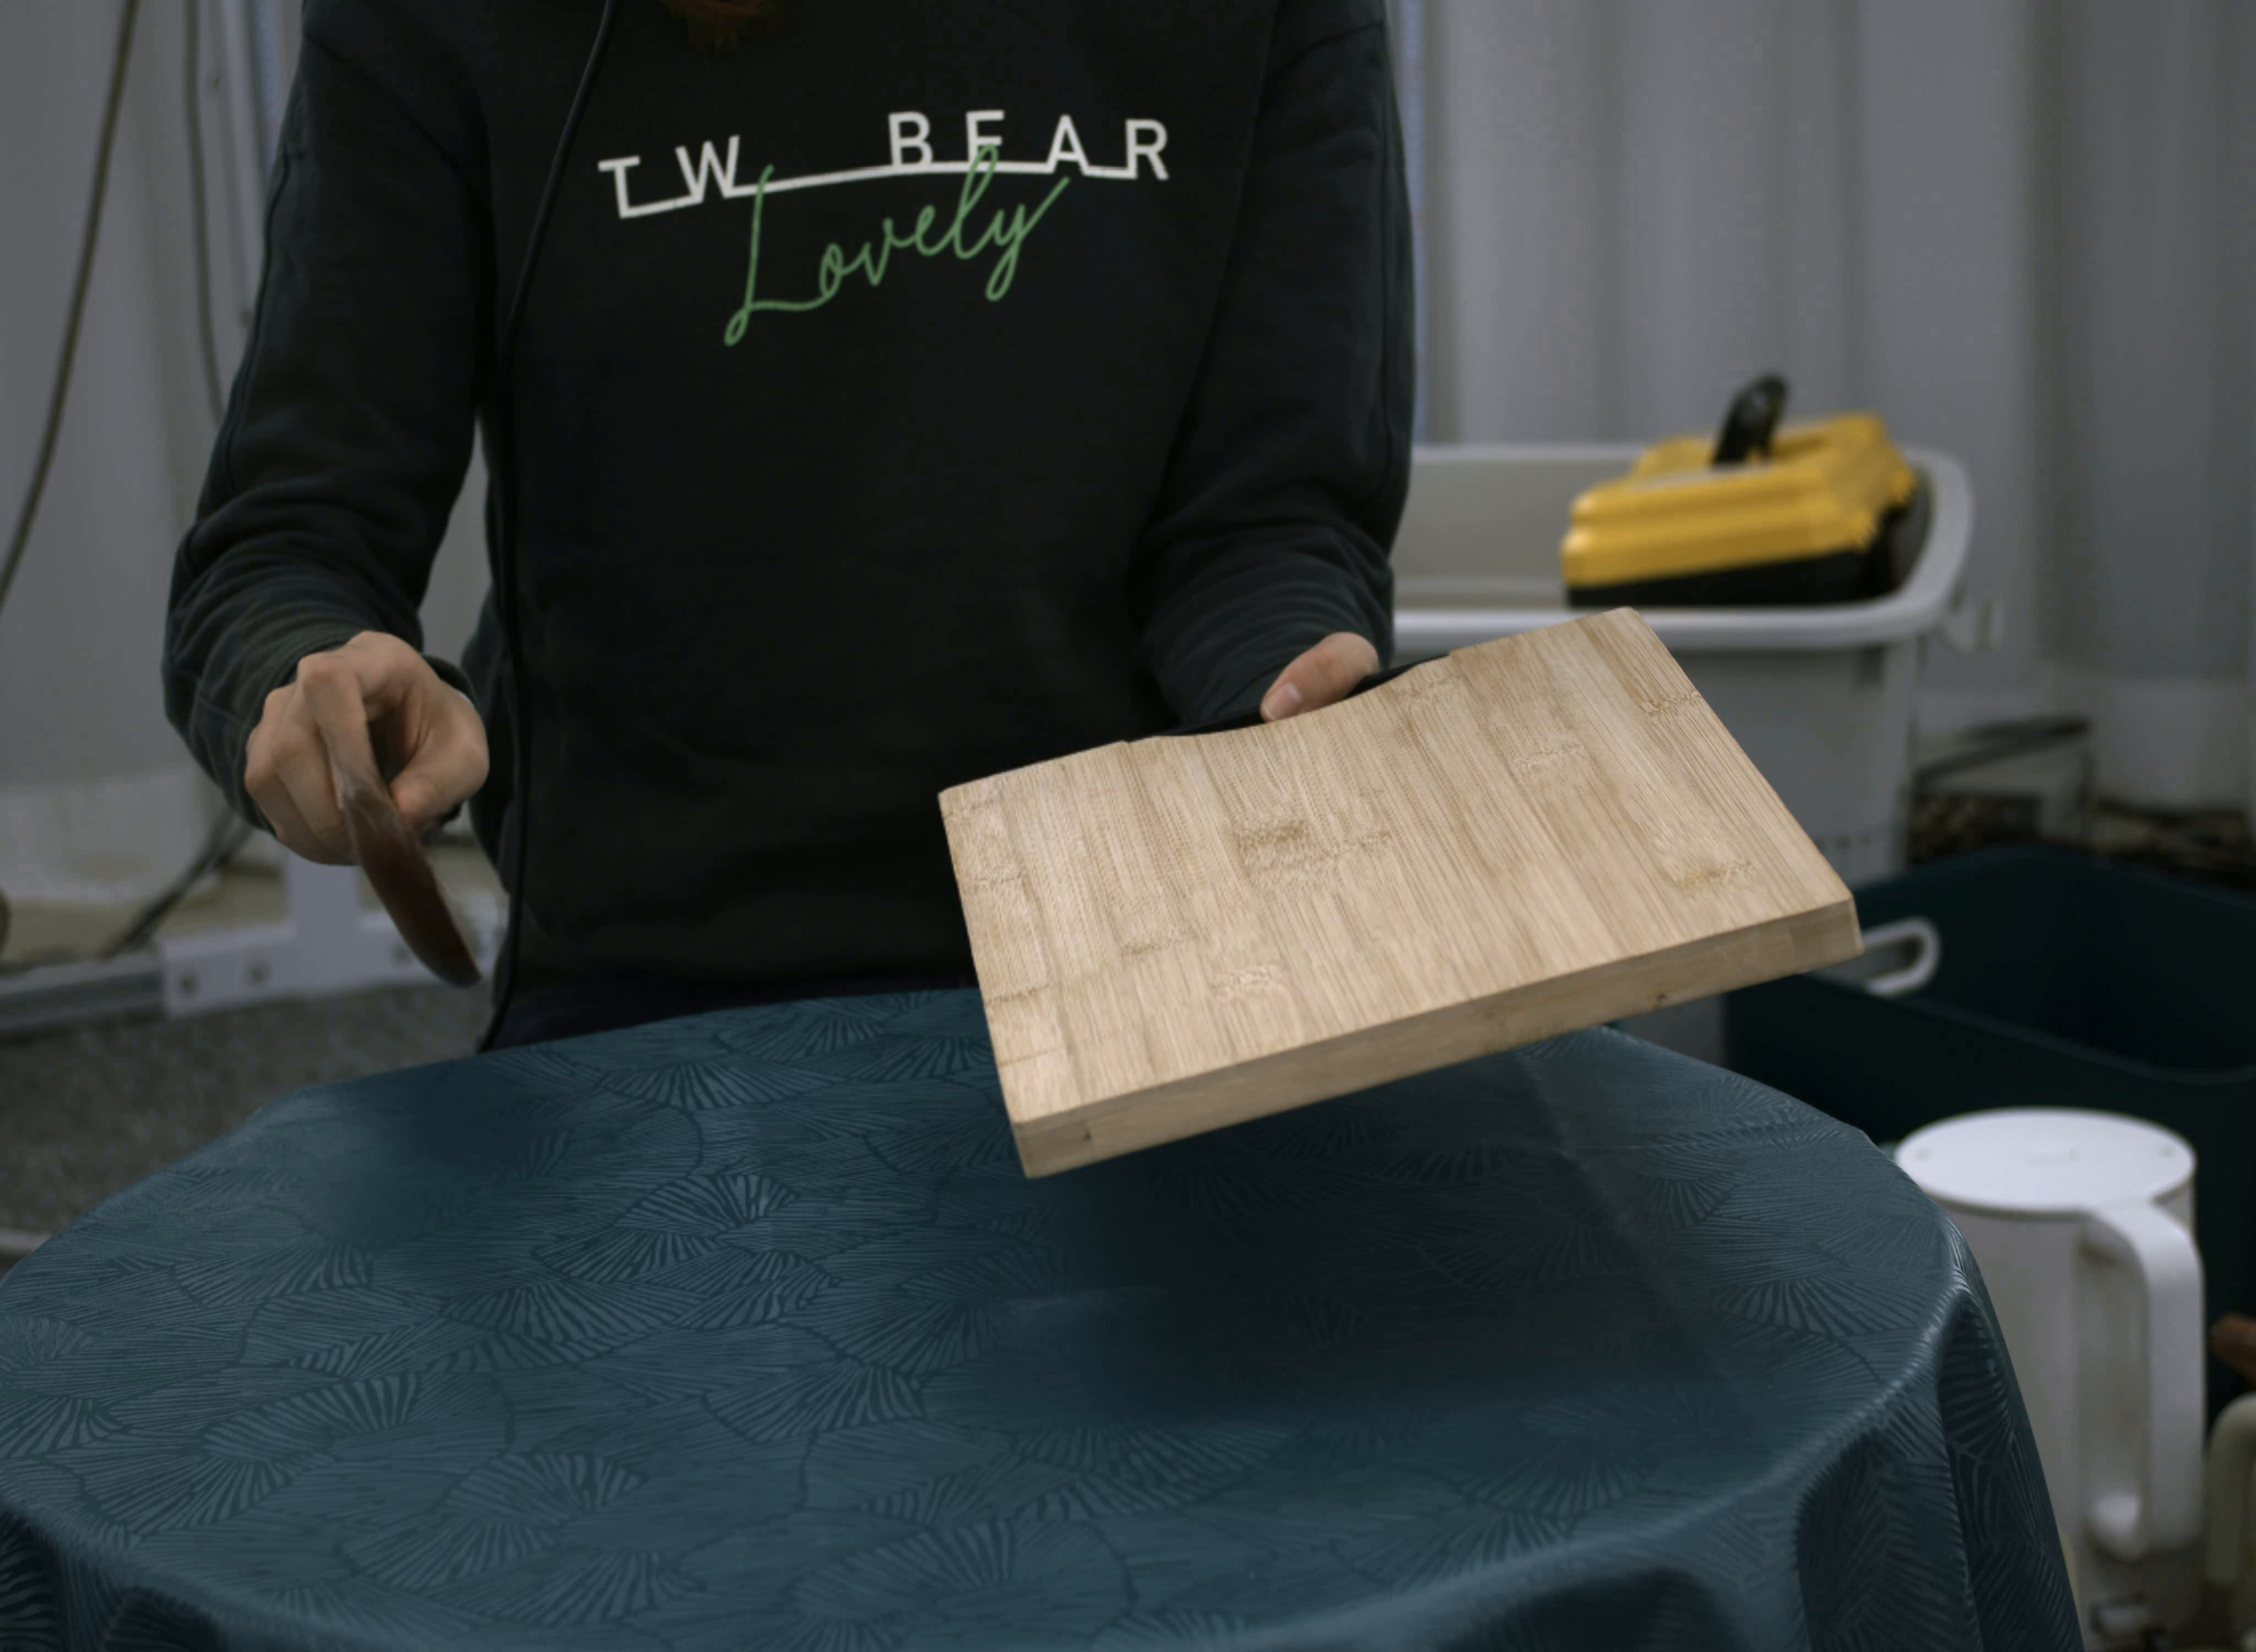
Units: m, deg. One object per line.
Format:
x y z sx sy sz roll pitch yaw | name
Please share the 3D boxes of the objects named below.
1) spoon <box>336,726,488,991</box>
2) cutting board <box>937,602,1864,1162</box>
-0.226 0.003 1.679 0.017 0.075 0.217 -29 17 -4 | spoon
0.070 0.011 1.662 0.250 0.023 0.351 -15 17 -2 | cutting board
